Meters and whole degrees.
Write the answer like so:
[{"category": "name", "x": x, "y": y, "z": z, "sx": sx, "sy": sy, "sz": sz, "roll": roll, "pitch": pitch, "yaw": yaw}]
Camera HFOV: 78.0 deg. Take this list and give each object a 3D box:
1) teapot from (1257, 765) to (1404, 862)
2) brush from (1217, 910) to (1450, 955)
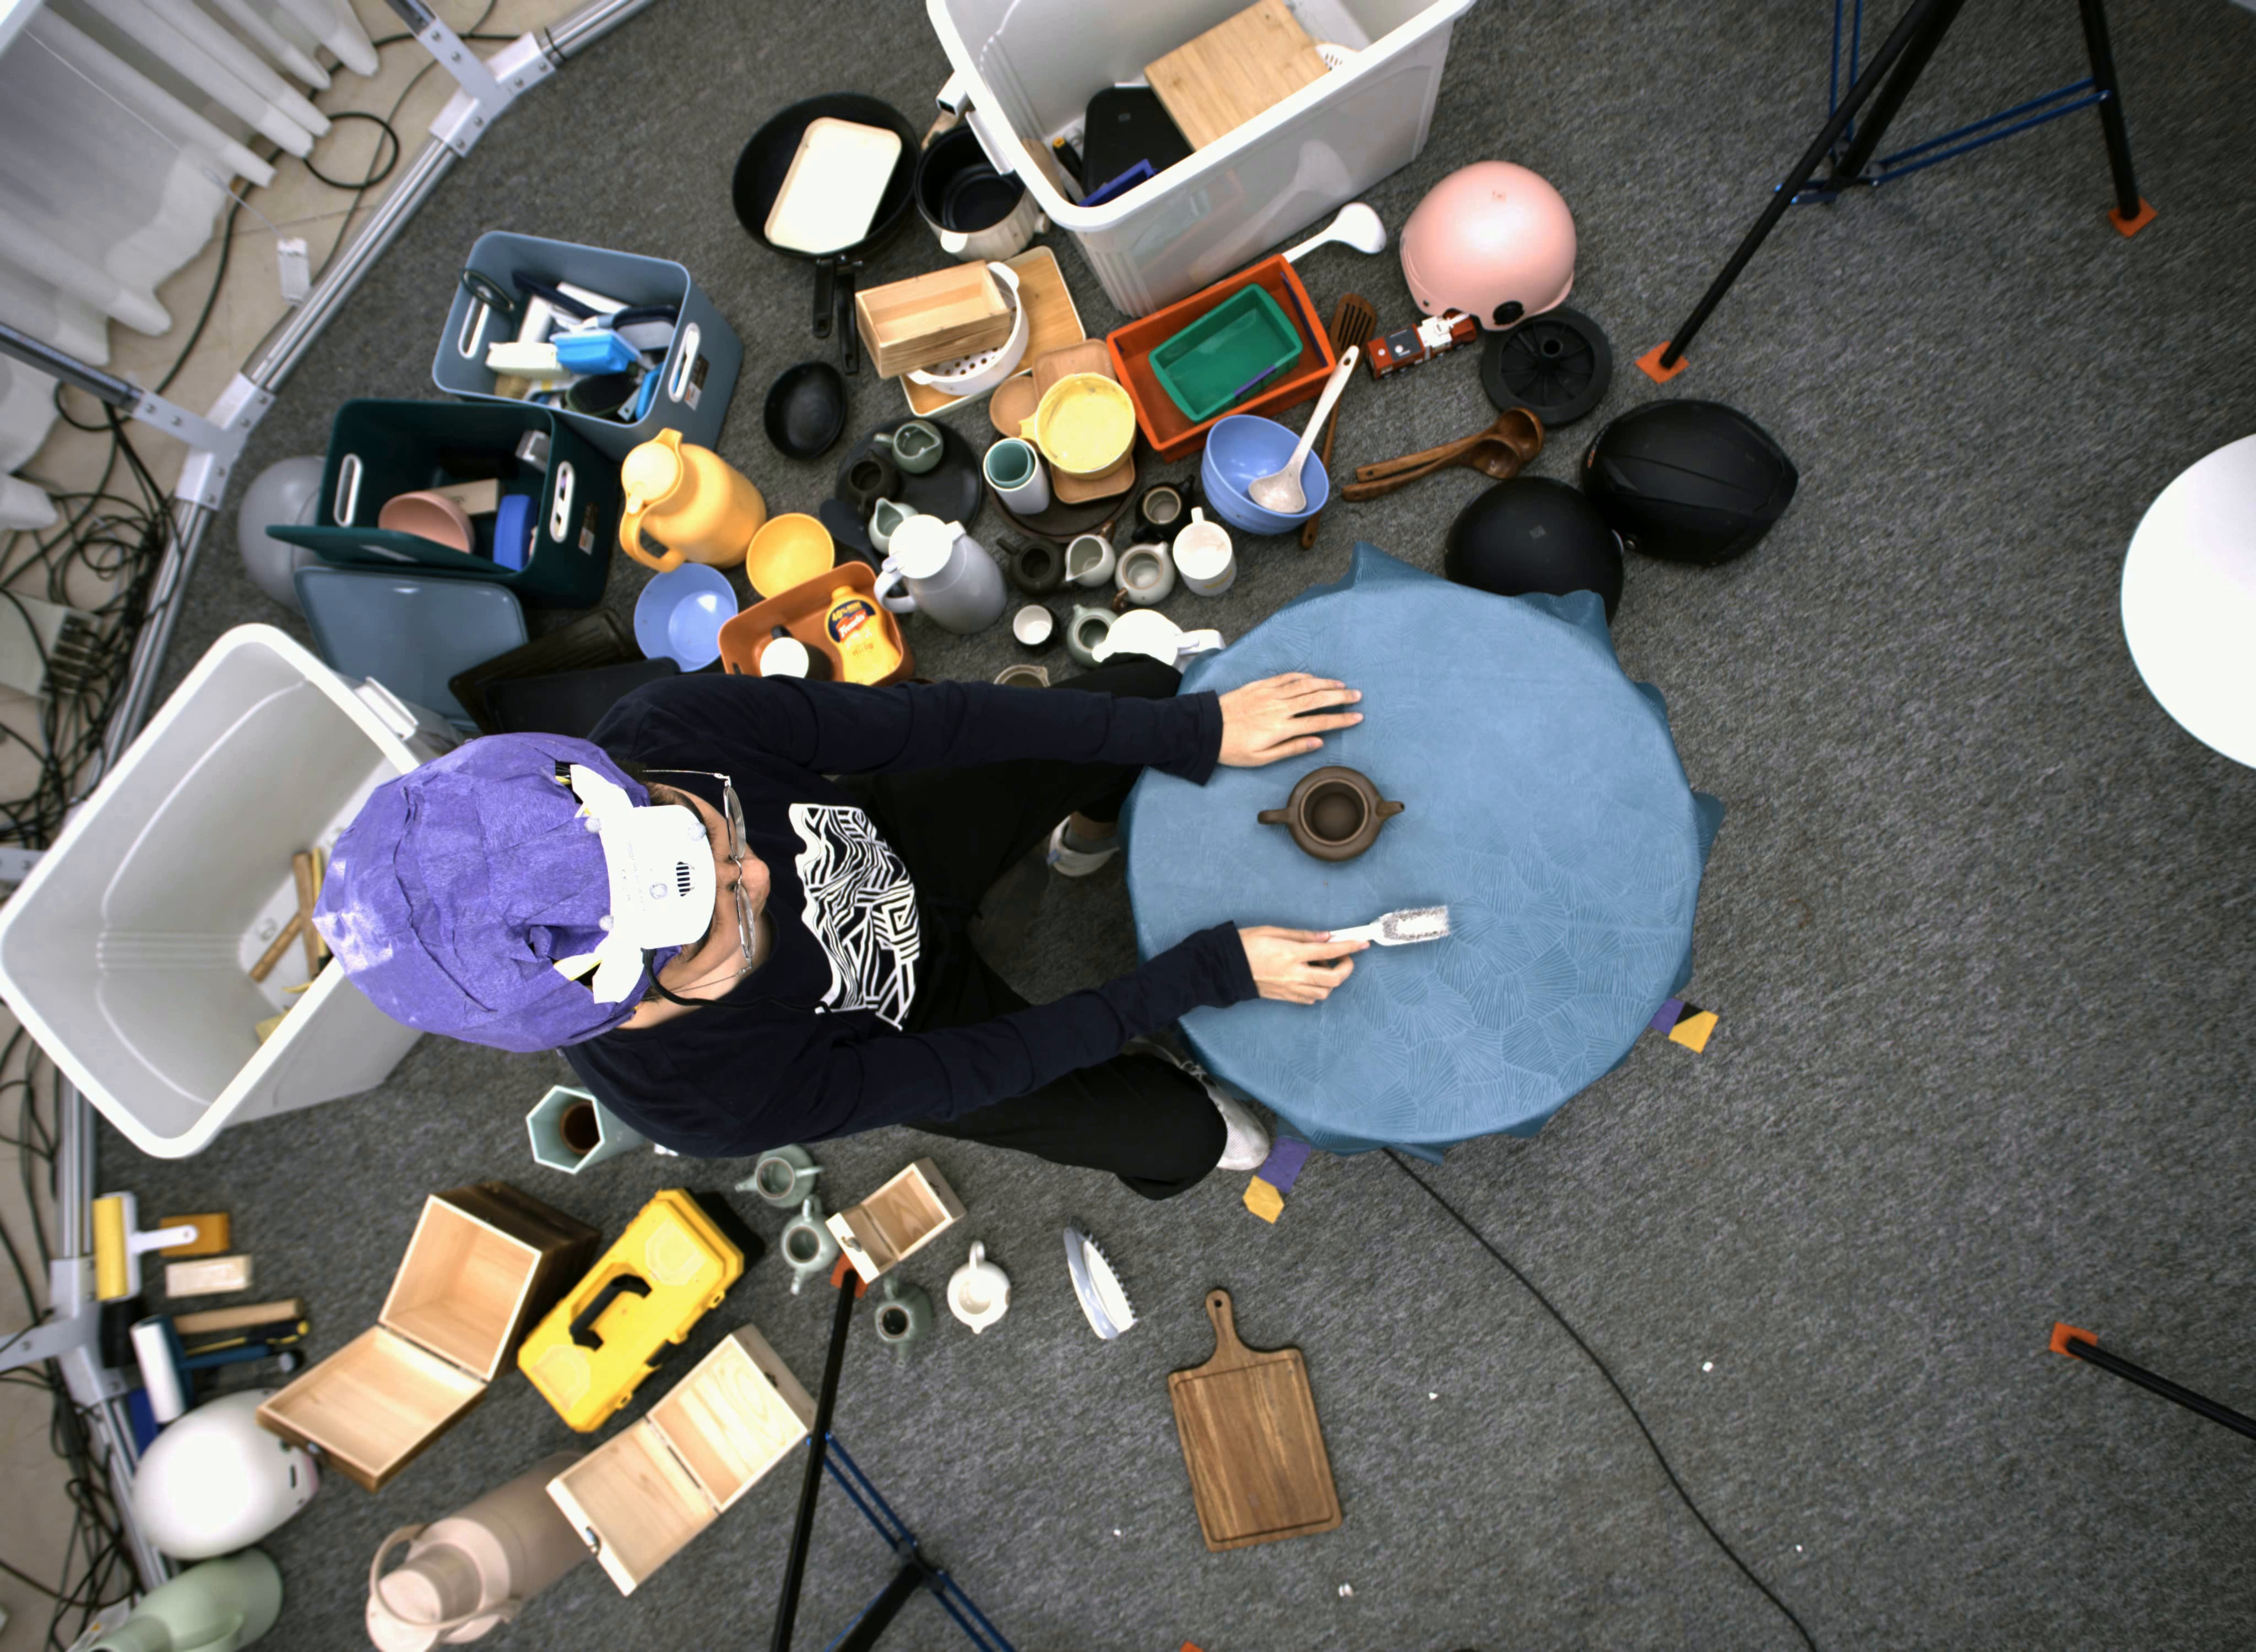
[{"category": "teapot", "x": 0.212, "y": -0.013, "z": 1.447, "sx": 0.154, "sy": 0.054, "sz": 0.102, "roll": -10, "pitch": 84, "yaw": 9}, {"category": "brush", "x": 0.212, "y": 0.112, "z": 1.444, "sx": 0.245, "sy": 0.050, "sz": 0.034, "roll": -6, "pitch": 86, "yaw": 10}]
